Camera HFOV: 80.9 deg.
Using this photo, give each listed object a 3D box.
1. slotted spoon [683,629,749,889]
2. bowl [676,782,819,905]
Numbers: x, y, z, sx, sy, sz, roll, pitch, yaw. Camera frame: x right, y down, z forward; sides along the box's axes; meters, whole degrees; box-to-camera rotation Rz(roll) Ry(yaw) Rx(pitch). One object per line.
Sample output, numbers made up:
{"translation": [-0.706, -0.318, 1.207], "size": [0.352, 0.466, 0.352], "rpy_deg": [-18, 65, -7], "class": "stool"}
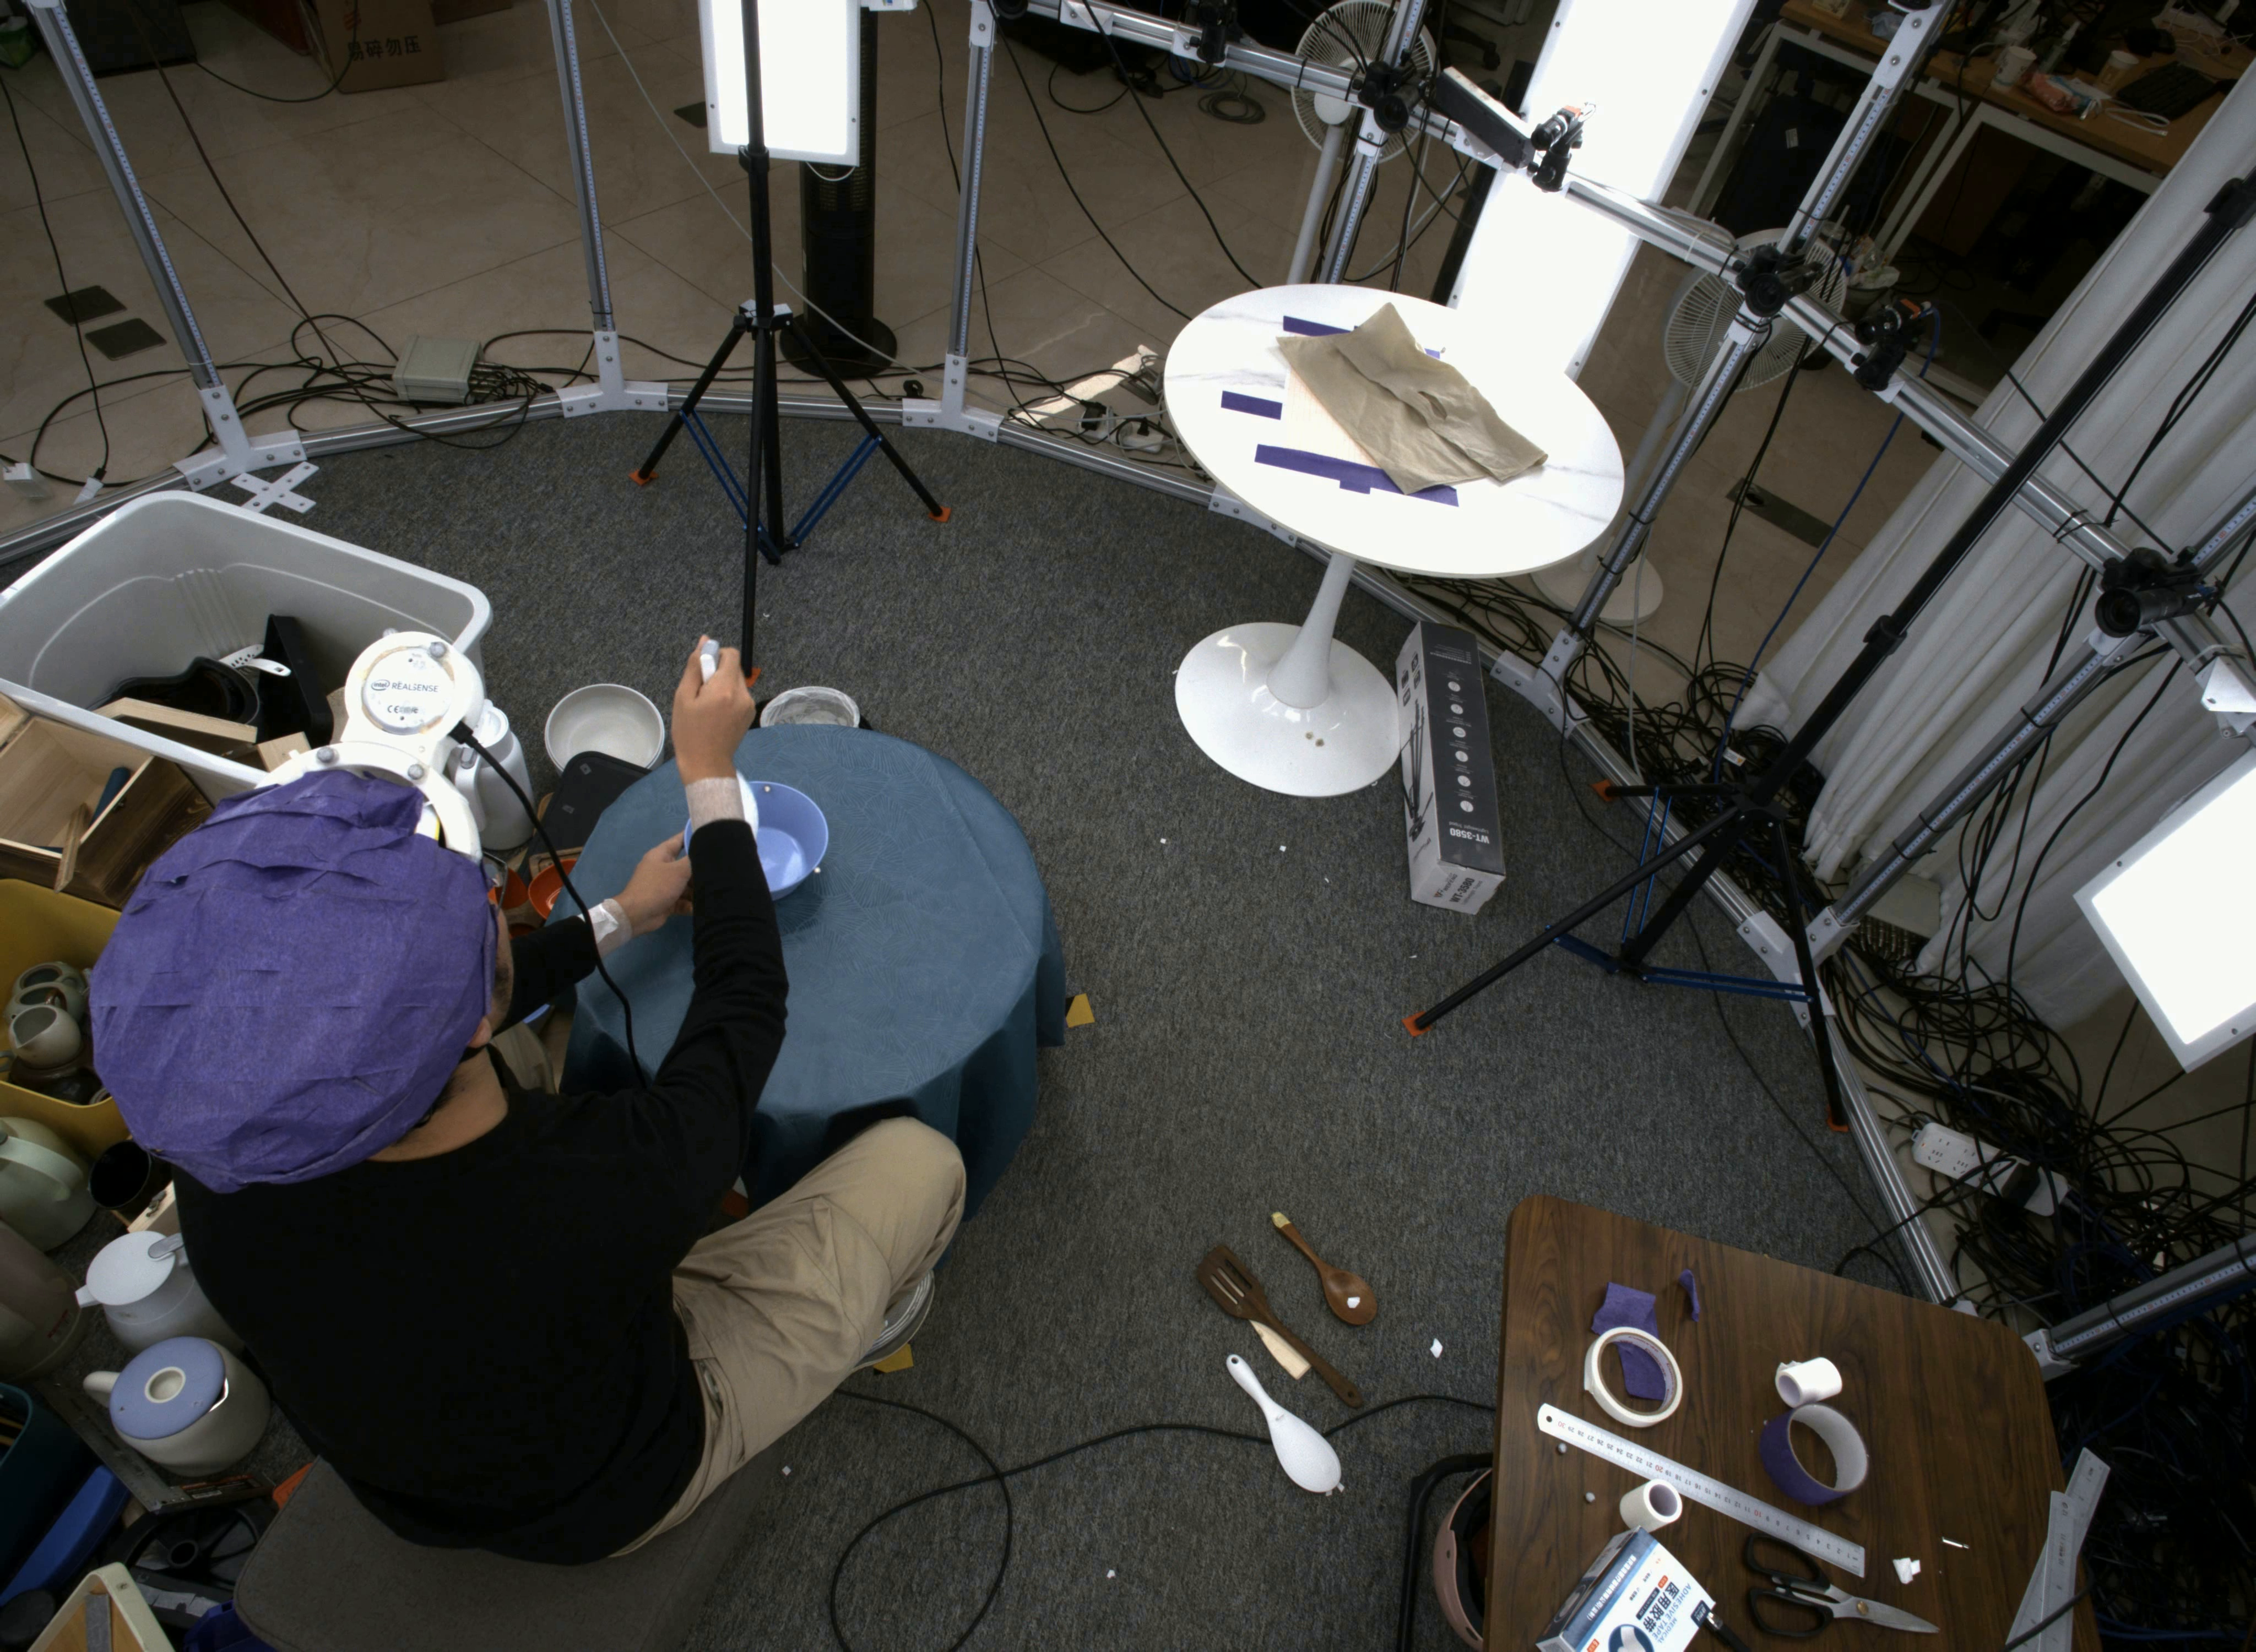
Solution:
{"translation": [-0.460, -0.071, 1.415], "size": [0.045, 0.360, 0.133], "rpy_deg": [2, 48, -2], "class": "slotted spoon"}
{"translation": [-0.478, 0.032, 1.635], "size": [0.175, 0.071, 0.173], "rpy_deg": [7, 53, -8], "class": "bowl"}
